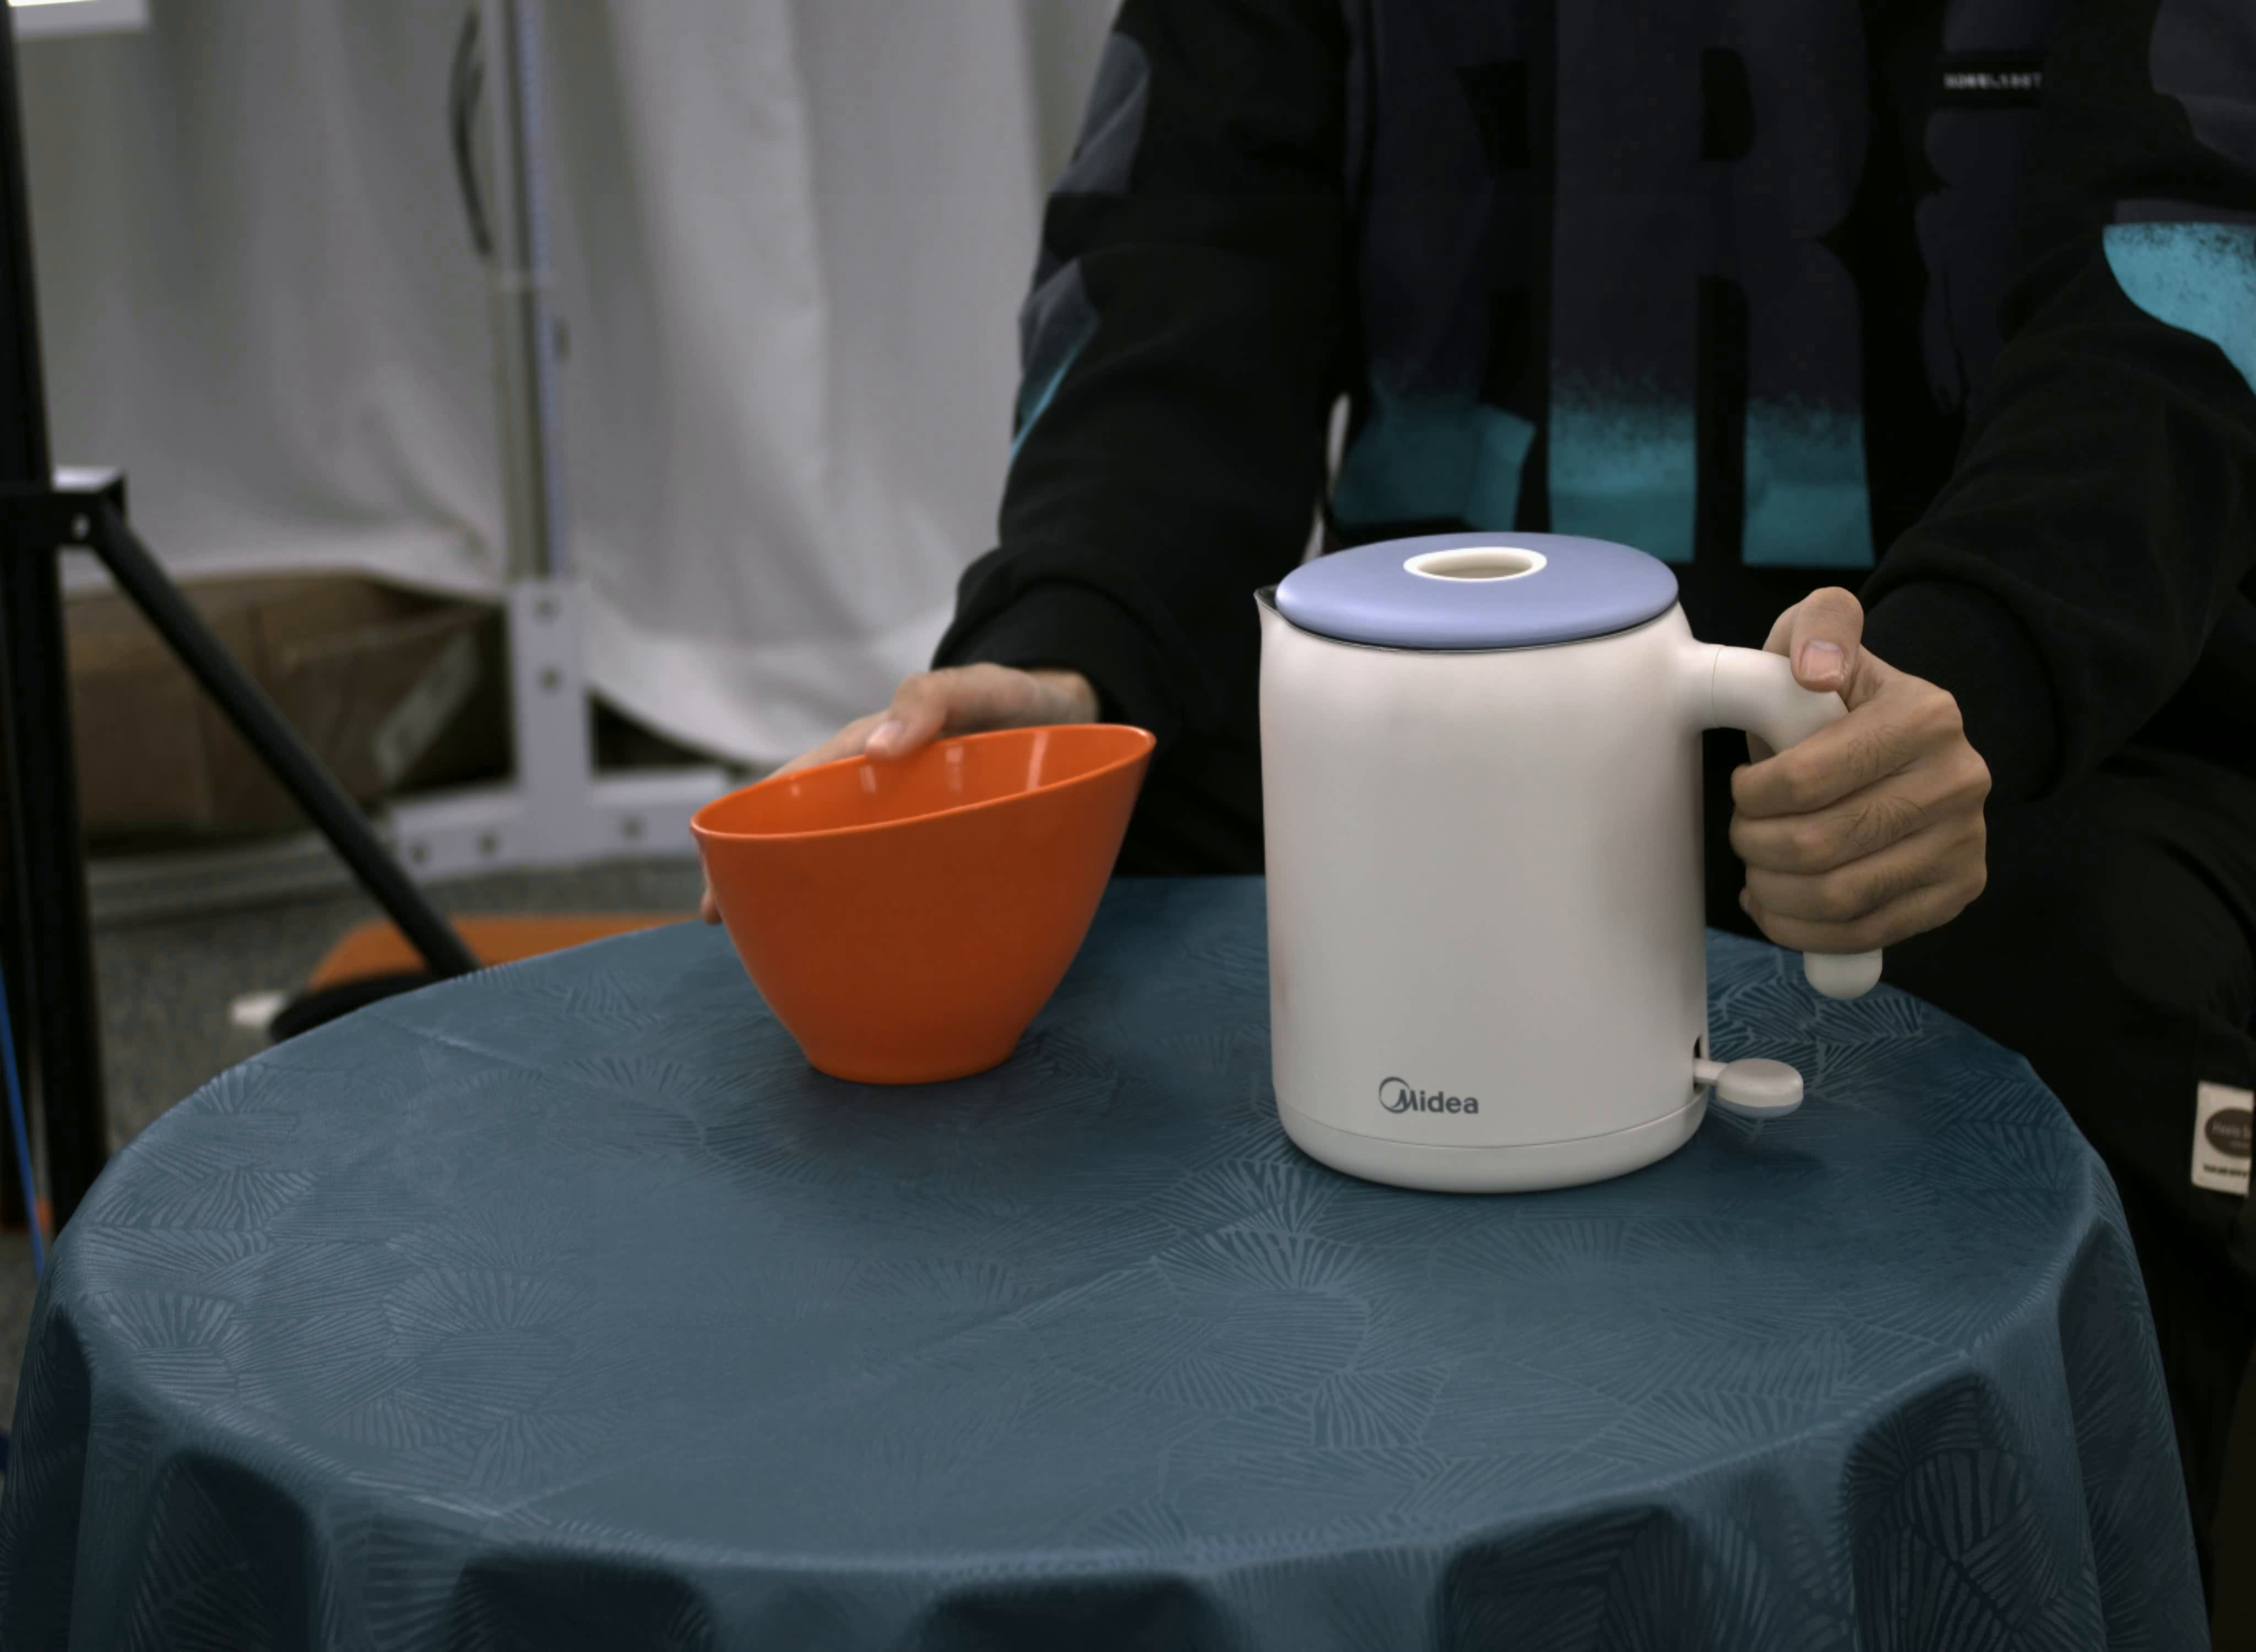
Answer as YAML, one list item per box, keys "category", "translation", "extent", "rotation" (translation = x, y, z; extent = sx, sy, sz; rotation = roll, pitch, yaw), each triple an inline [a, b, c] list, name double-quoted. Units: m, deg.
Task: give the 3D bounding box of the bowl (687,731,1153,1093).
- category: "bowl"
  translation: [-0.064, 0.027, 1.673]
  extent: [0.147, 0.104, 0.149]
  rotation: [-3, 16, -1]

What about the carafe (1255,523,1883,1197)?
- category: "carafe"
  translation: [0.129, 0.012, 1.565]
  extent: [0.193, 0.182, 0.131]
  rotation: [6, 18, 19]
